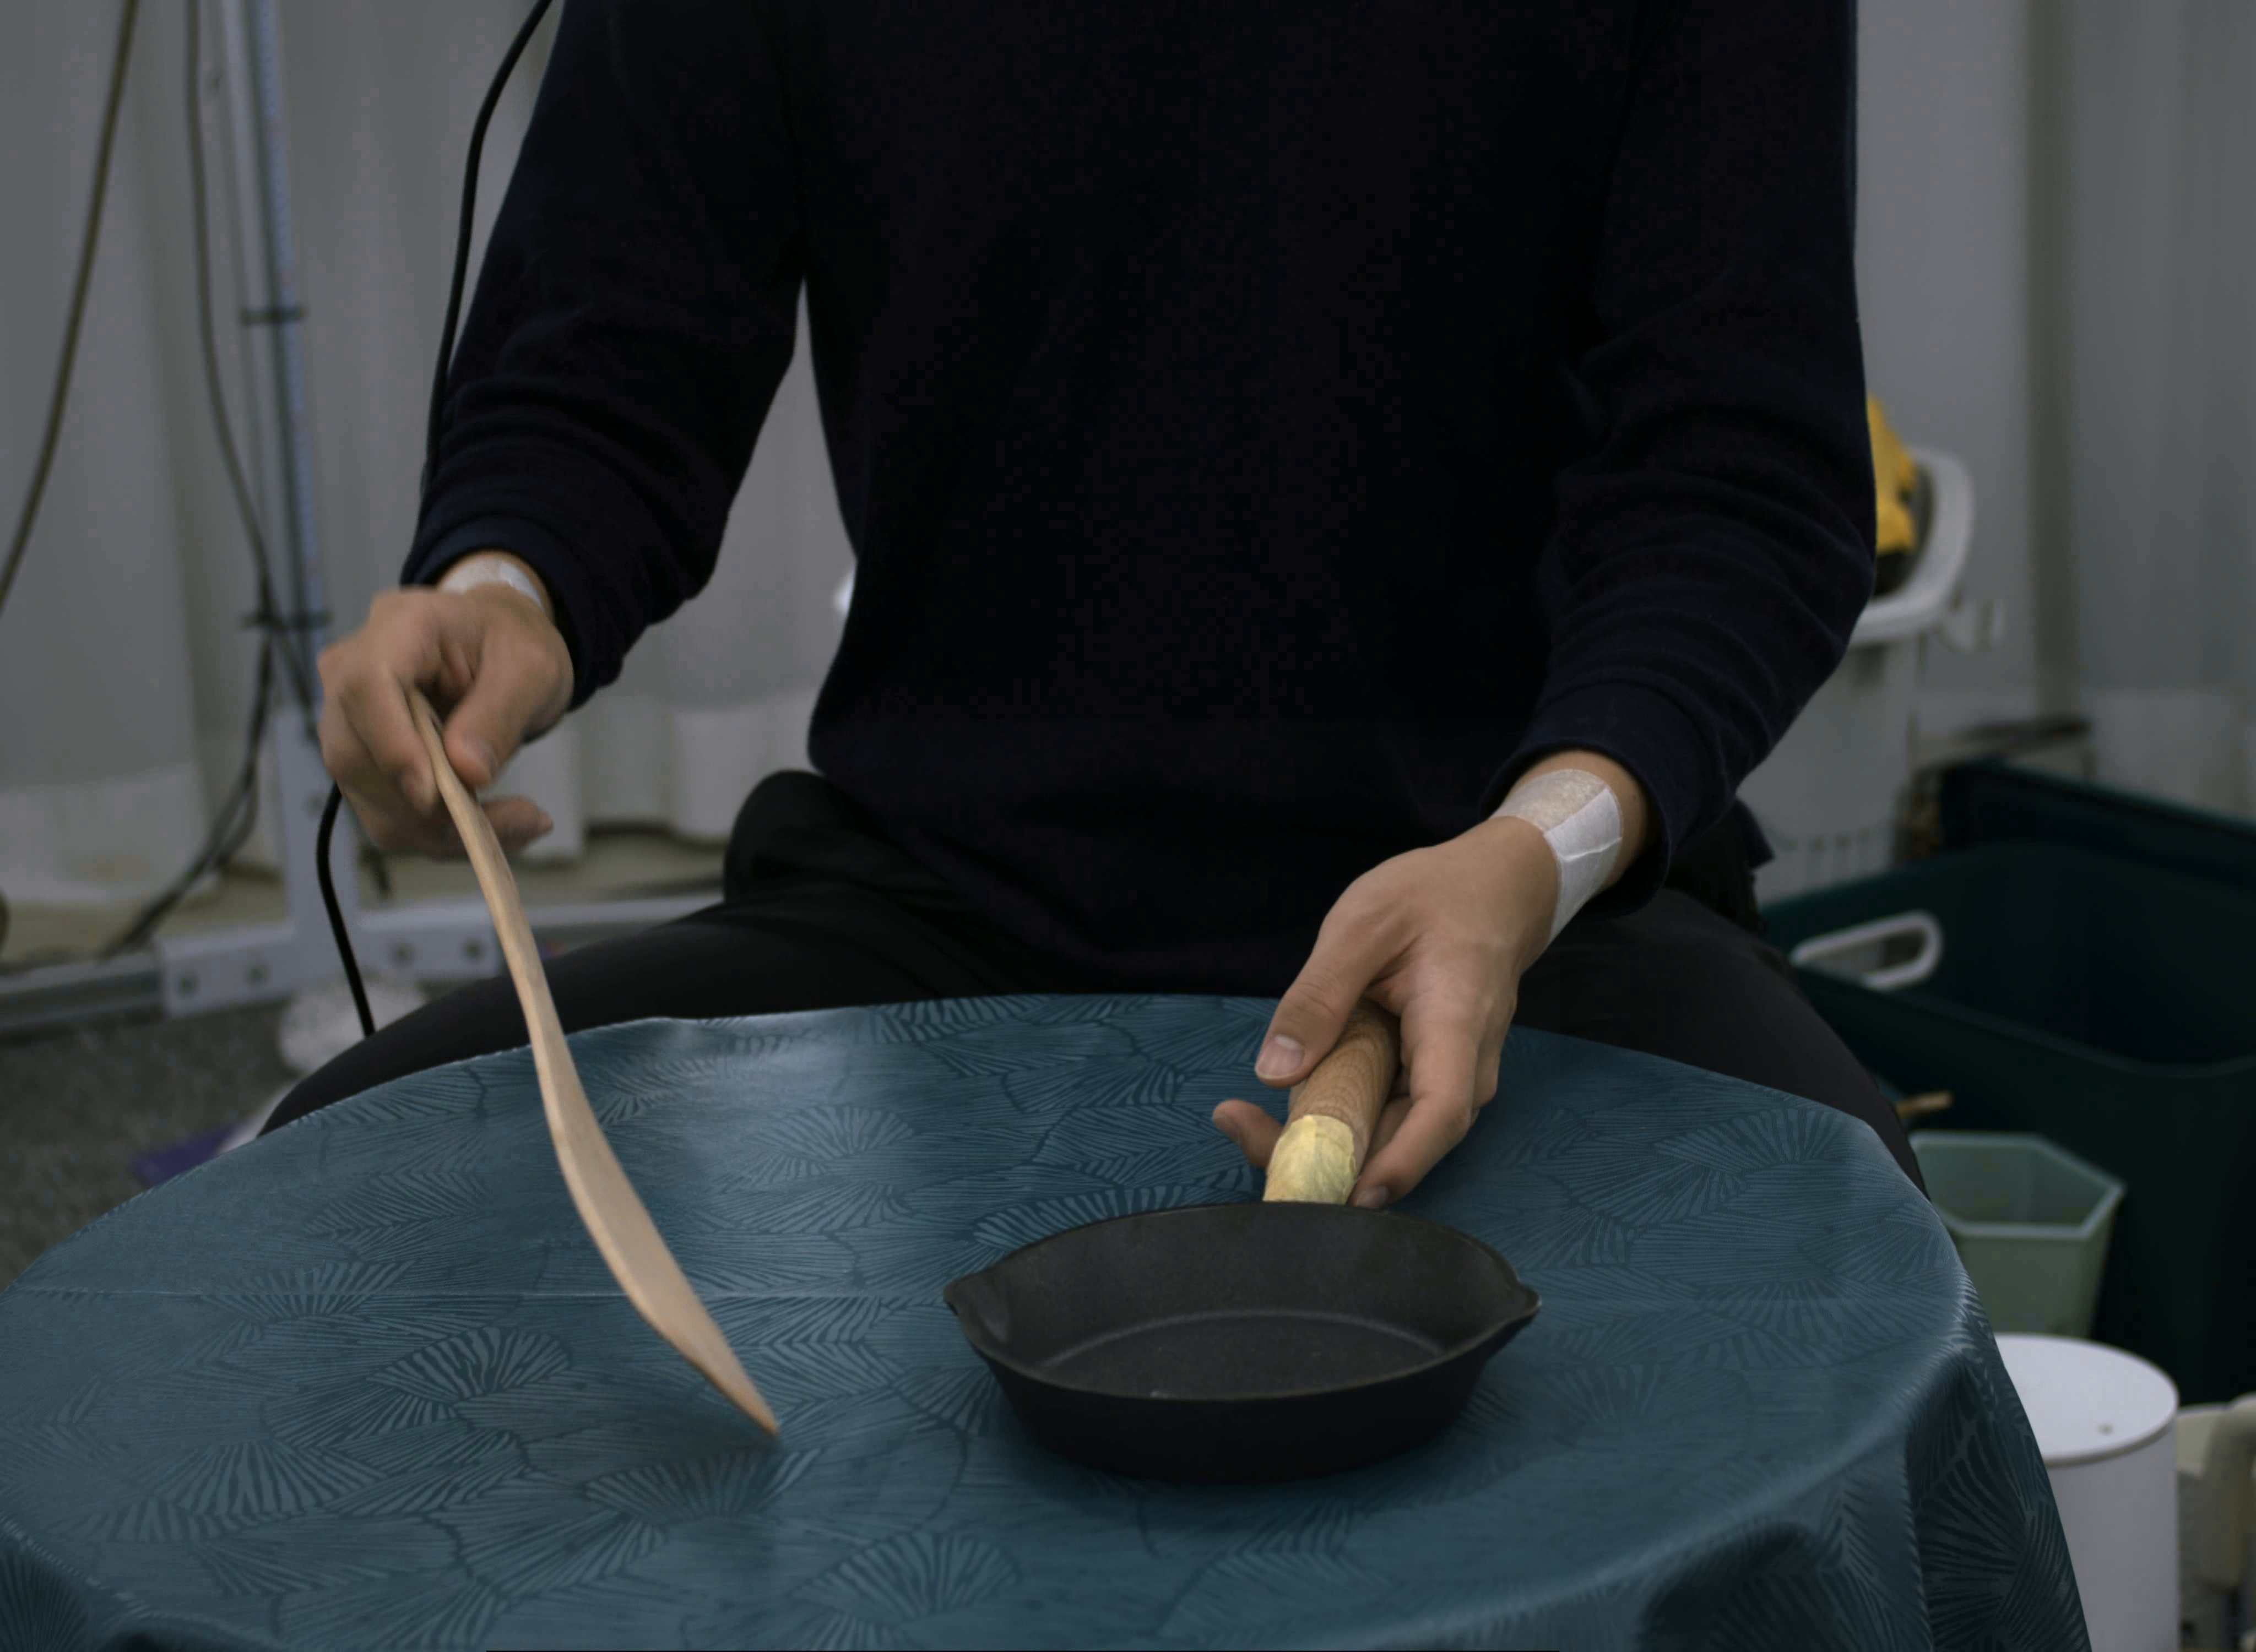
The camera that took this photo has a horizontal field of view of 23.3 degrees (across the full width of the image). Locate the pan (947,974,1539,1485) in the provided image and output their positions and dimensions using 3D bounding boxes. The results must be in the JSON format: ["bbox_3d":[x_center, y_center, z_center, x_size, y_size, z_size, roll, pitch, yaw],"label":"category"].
[{"bbox_3d":[0.052,0.115,1.606,0.169,0.049,0.326,1,17,14],"label":"pan"}]

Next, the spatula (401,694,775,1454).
[{"bbox_3d":[-0.165,0.063,1.599,0.016,0.079,0.332,-32,43,4],"label":"spatula"}]
